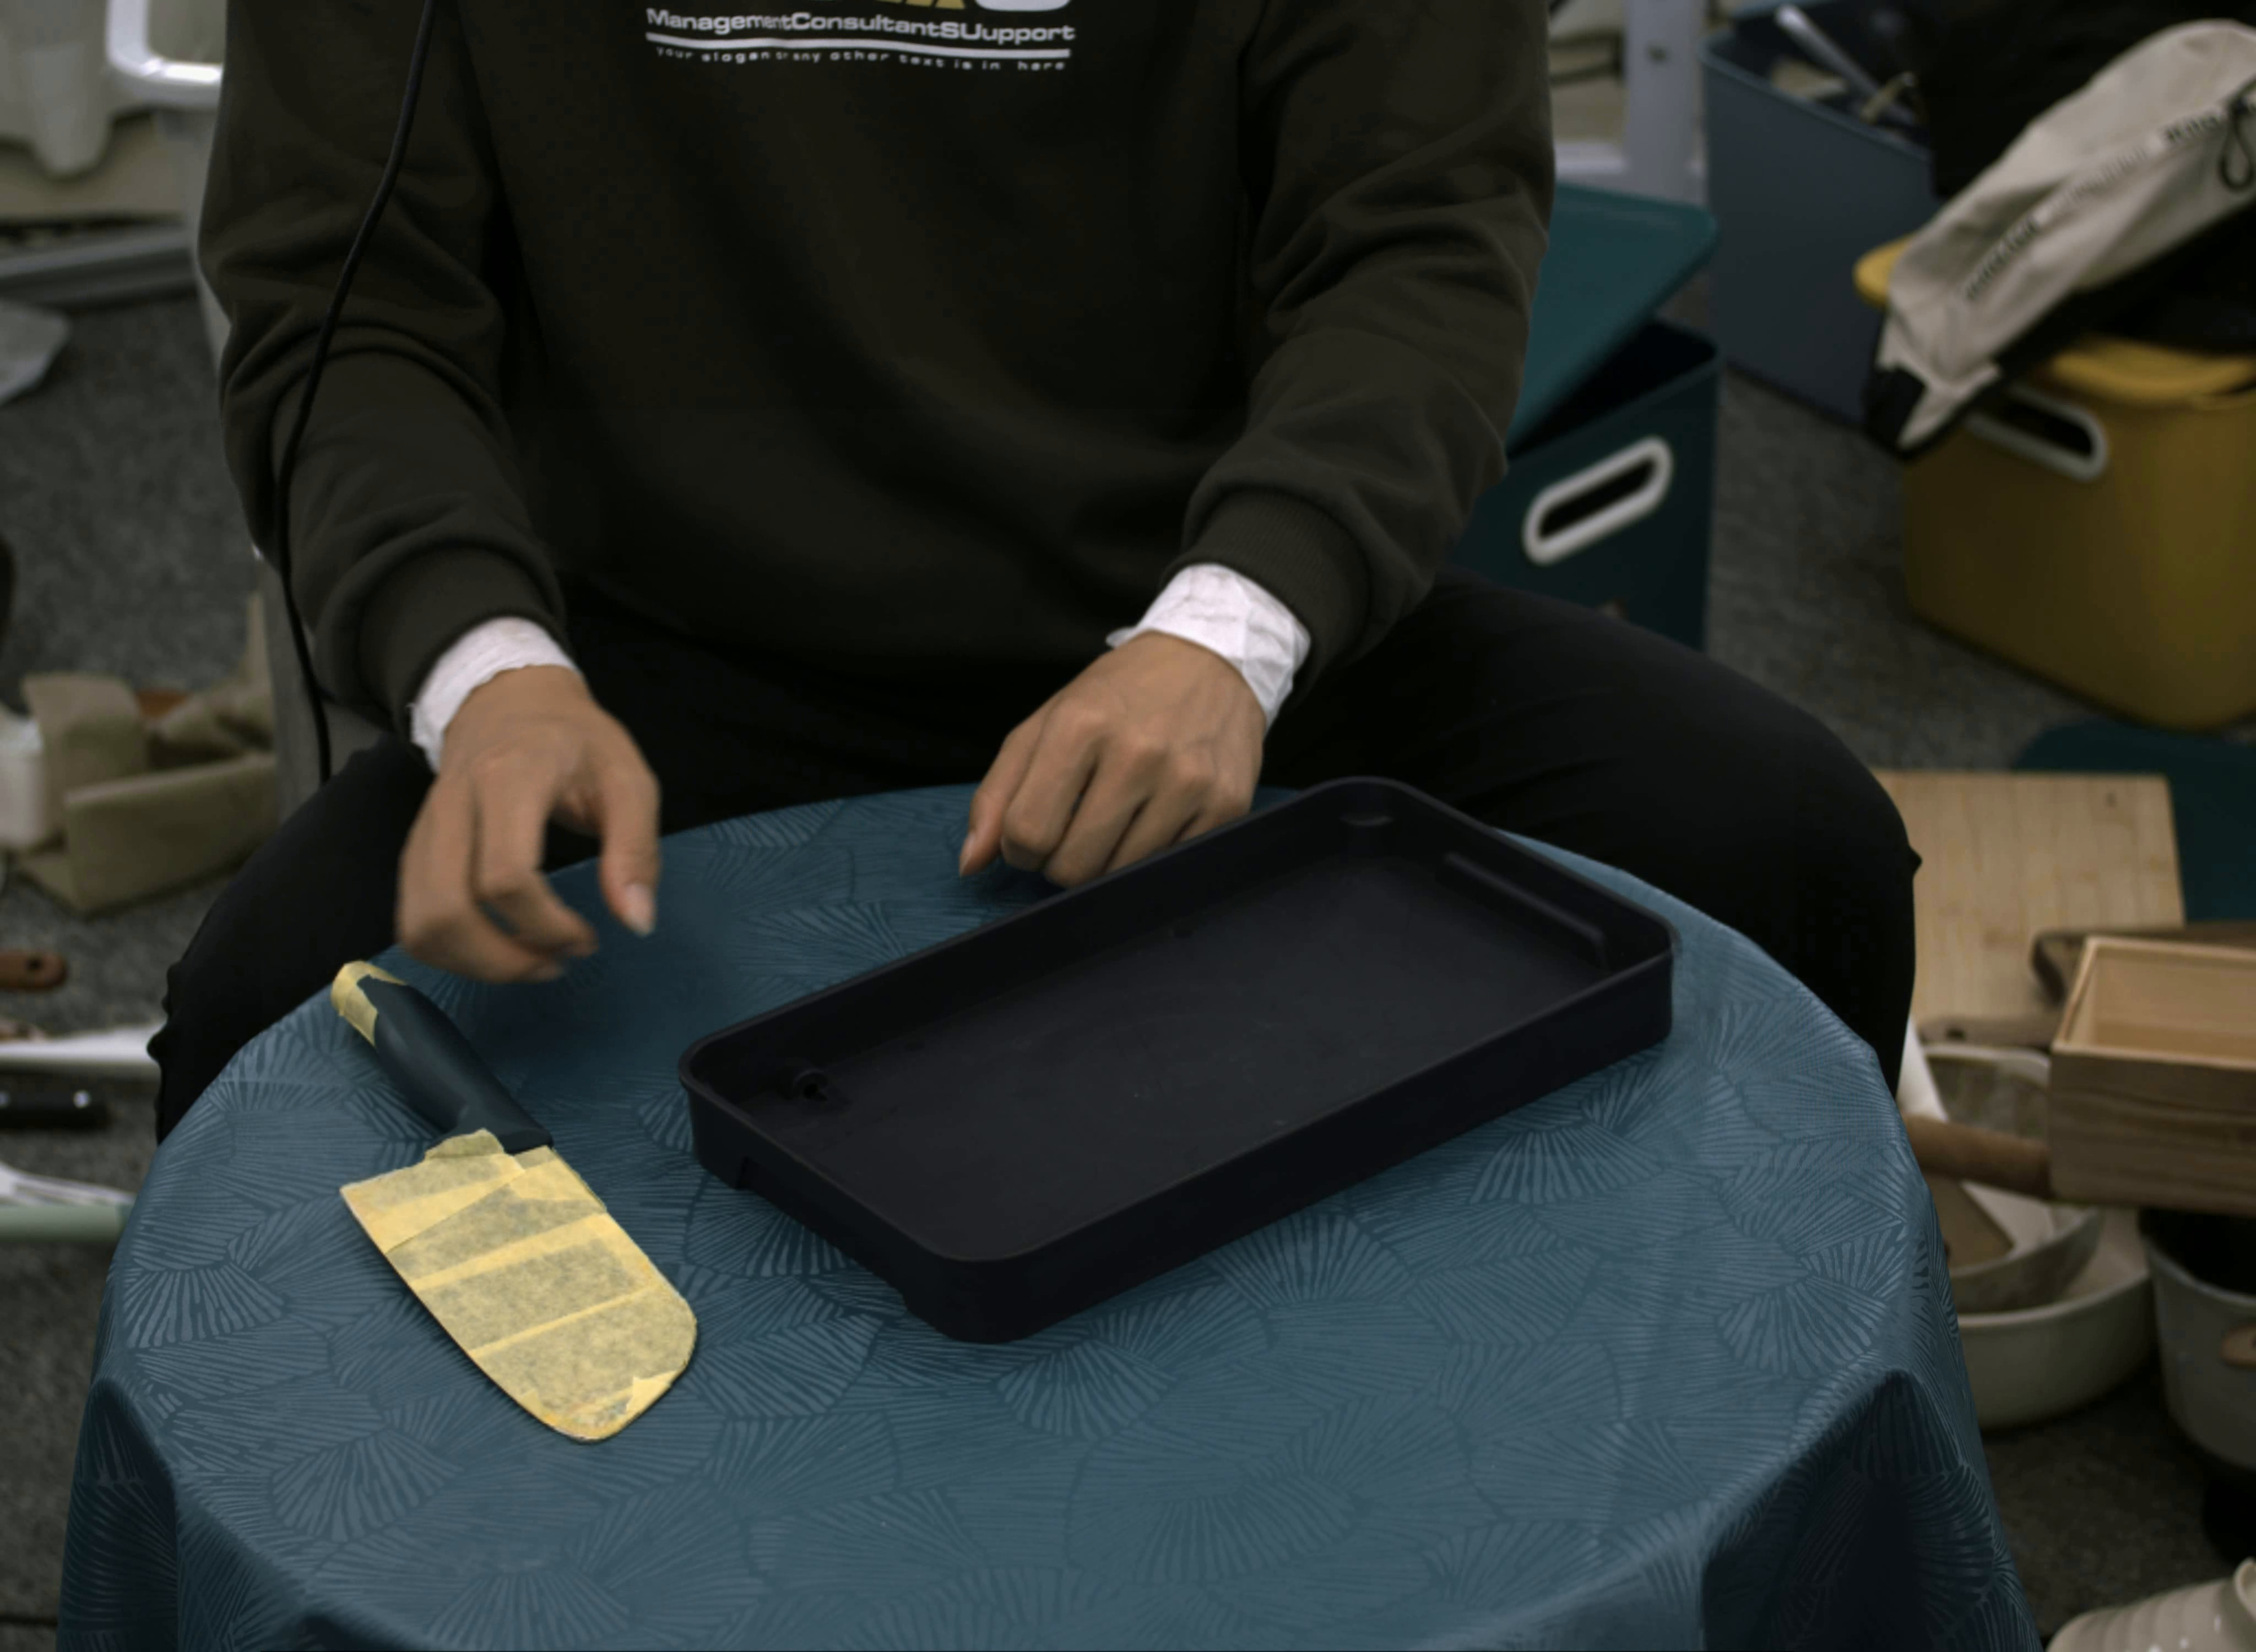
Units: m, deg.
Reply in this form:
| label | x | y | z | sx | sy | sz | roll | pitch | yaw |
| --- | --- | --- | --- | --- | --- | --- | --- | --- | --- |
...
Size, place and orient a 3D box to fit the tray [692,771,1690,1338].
| label | x | y | z | sx | sy | sz | roll | pitch | yaw |
| --- | --- | --- | --- | --- | --- | --- | --- | --- | --- |
| tray | 0.024 | 0.072 | 1.917 | 0.321 | 0.036 | 0.184 | -23 | 33 | -34 |

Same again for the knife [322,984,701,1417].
| label | x | y | z | sx | sy | sz | roll | pitch | yaw |
| --- | --- | --- | --- | --- | --- | --- | --- | --- | --- |
| knife | -0.219 | 0.124 | 1.861 | 0.081 | 0.027 | 0.291 | -14 | 30 | -23 |
